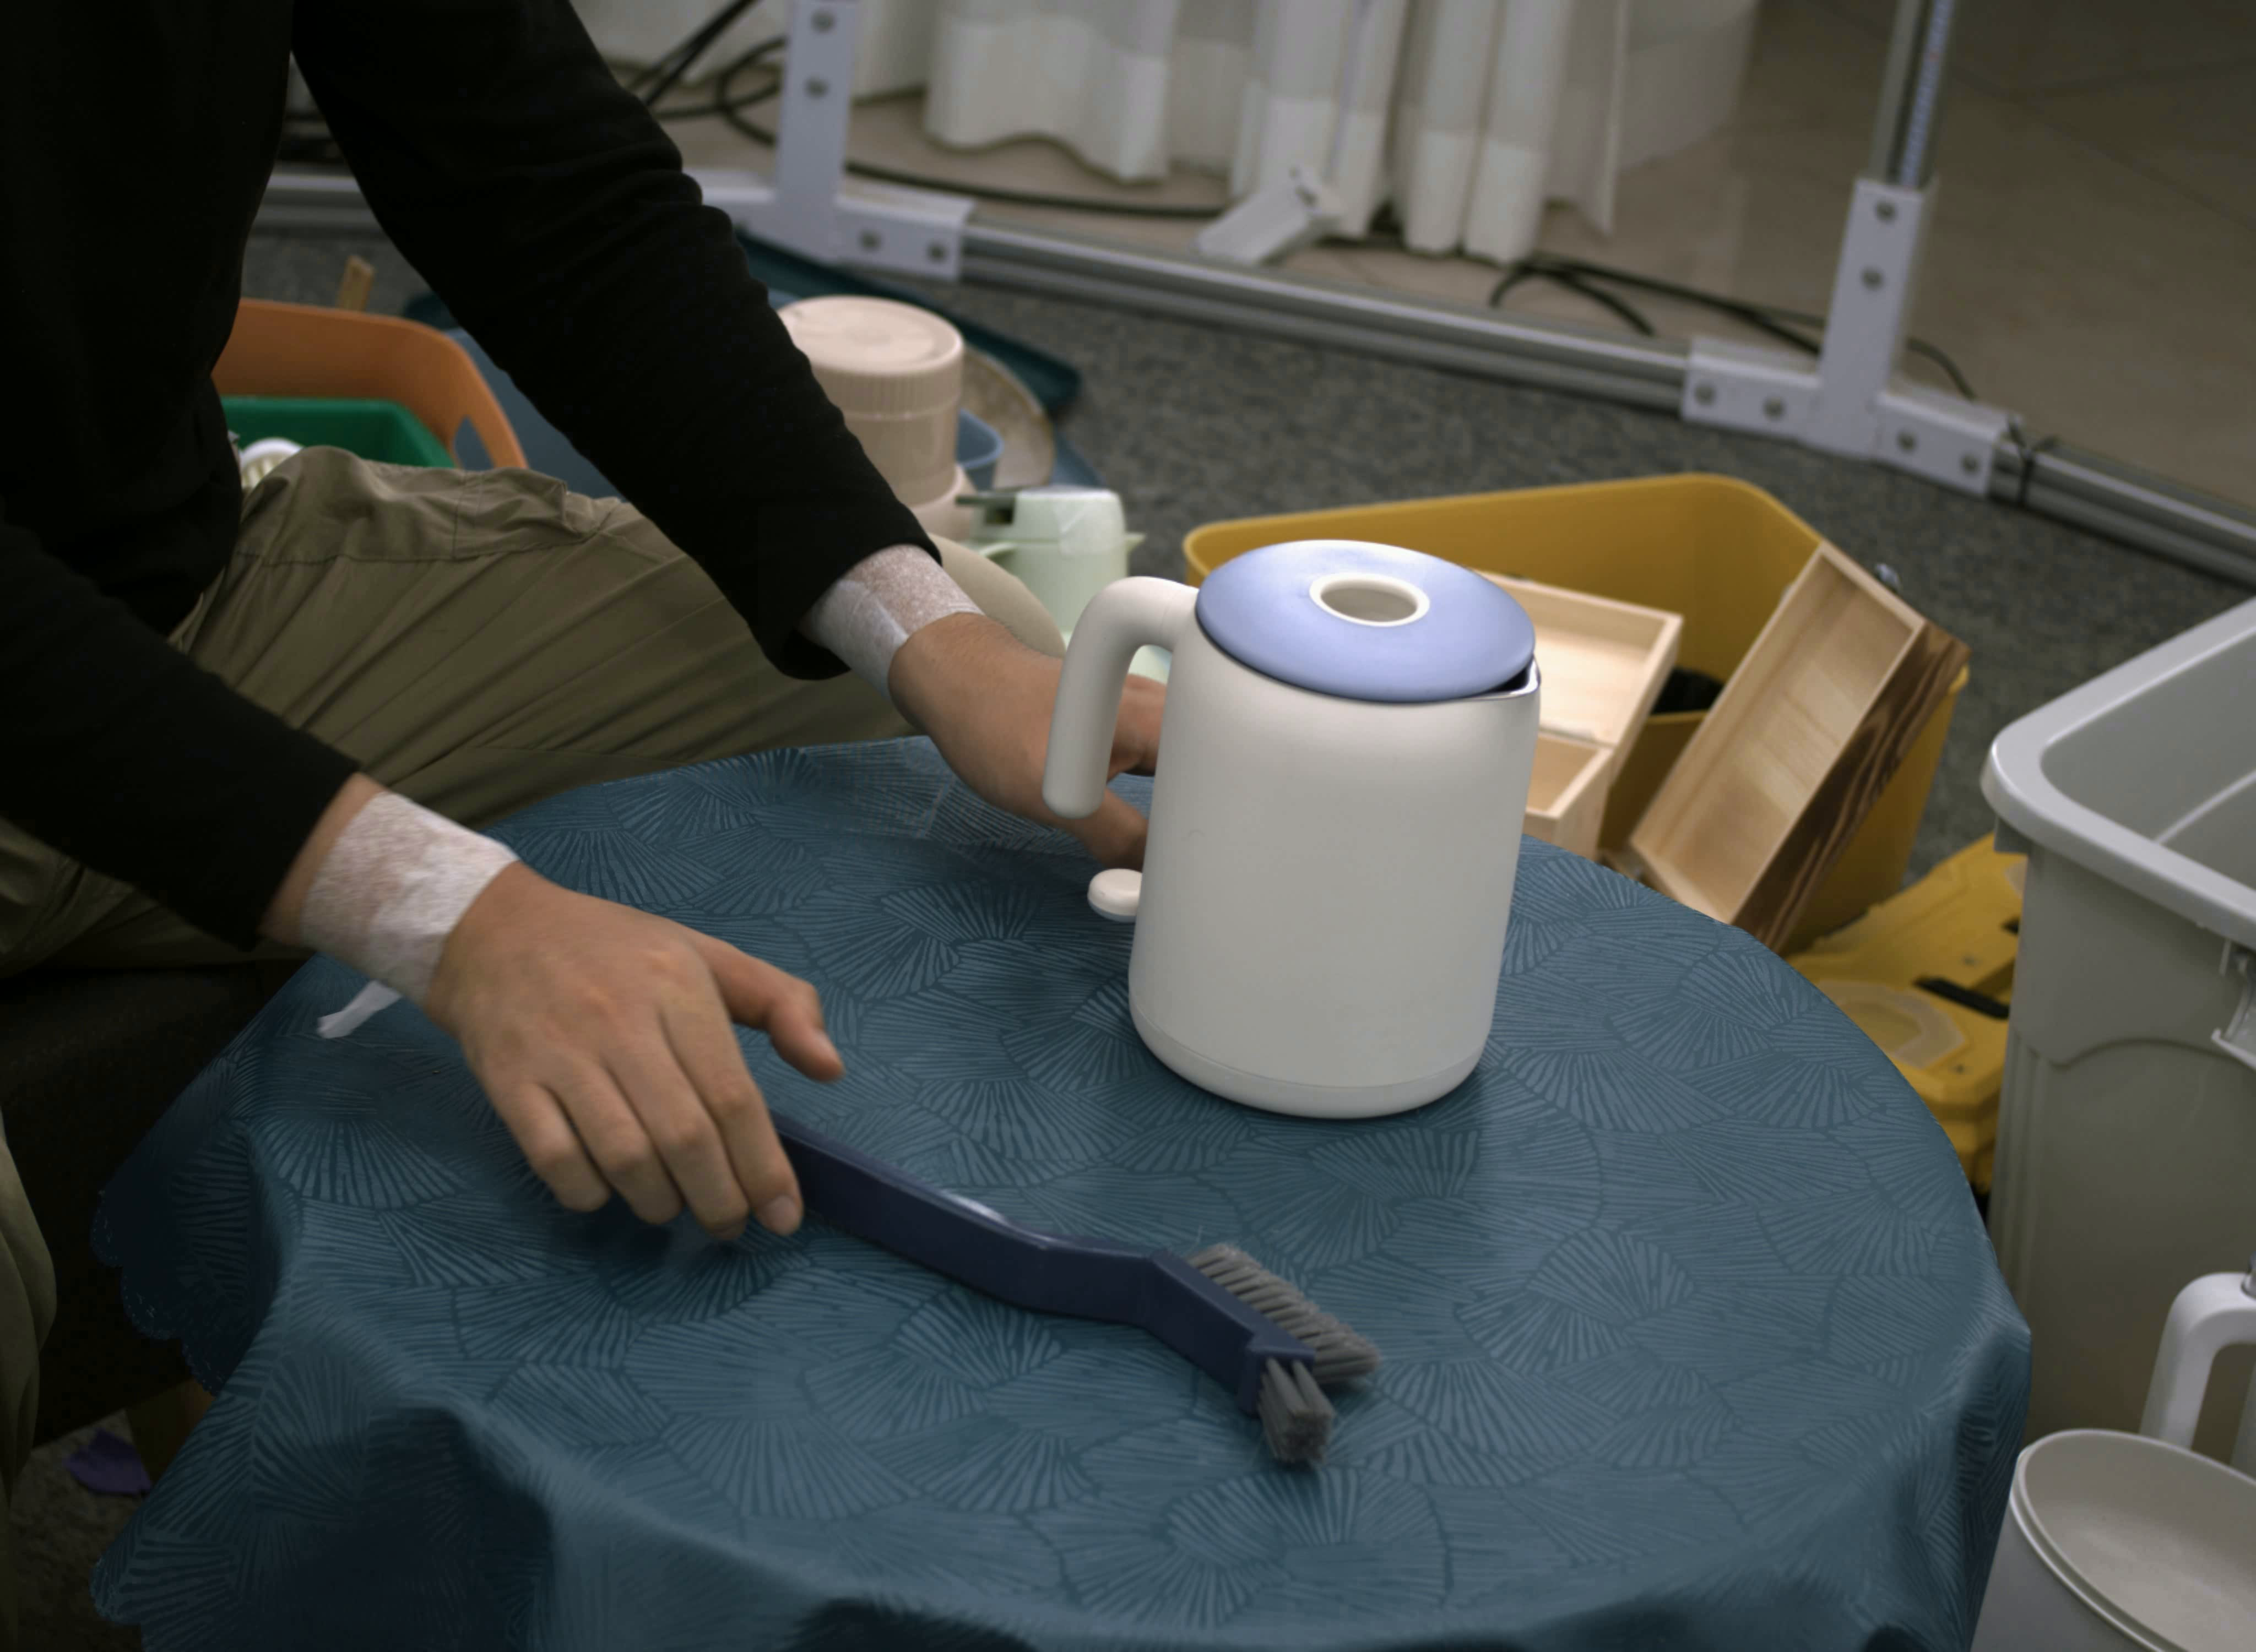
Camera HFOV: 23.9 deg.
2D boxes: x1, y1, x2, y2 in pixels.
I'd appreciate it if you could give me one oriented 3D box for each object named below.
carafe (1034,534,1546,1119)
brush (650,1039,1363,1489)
[{"bbox_3d":[0.052,-0.008,1.883,0.192,0.182,0.132,19,29,26],"label":"carafe"},{"bbox_3d":[-0.052,0.138,1.729,0.274,0.033,0.096,18,31,20],"label":"brush"}]
